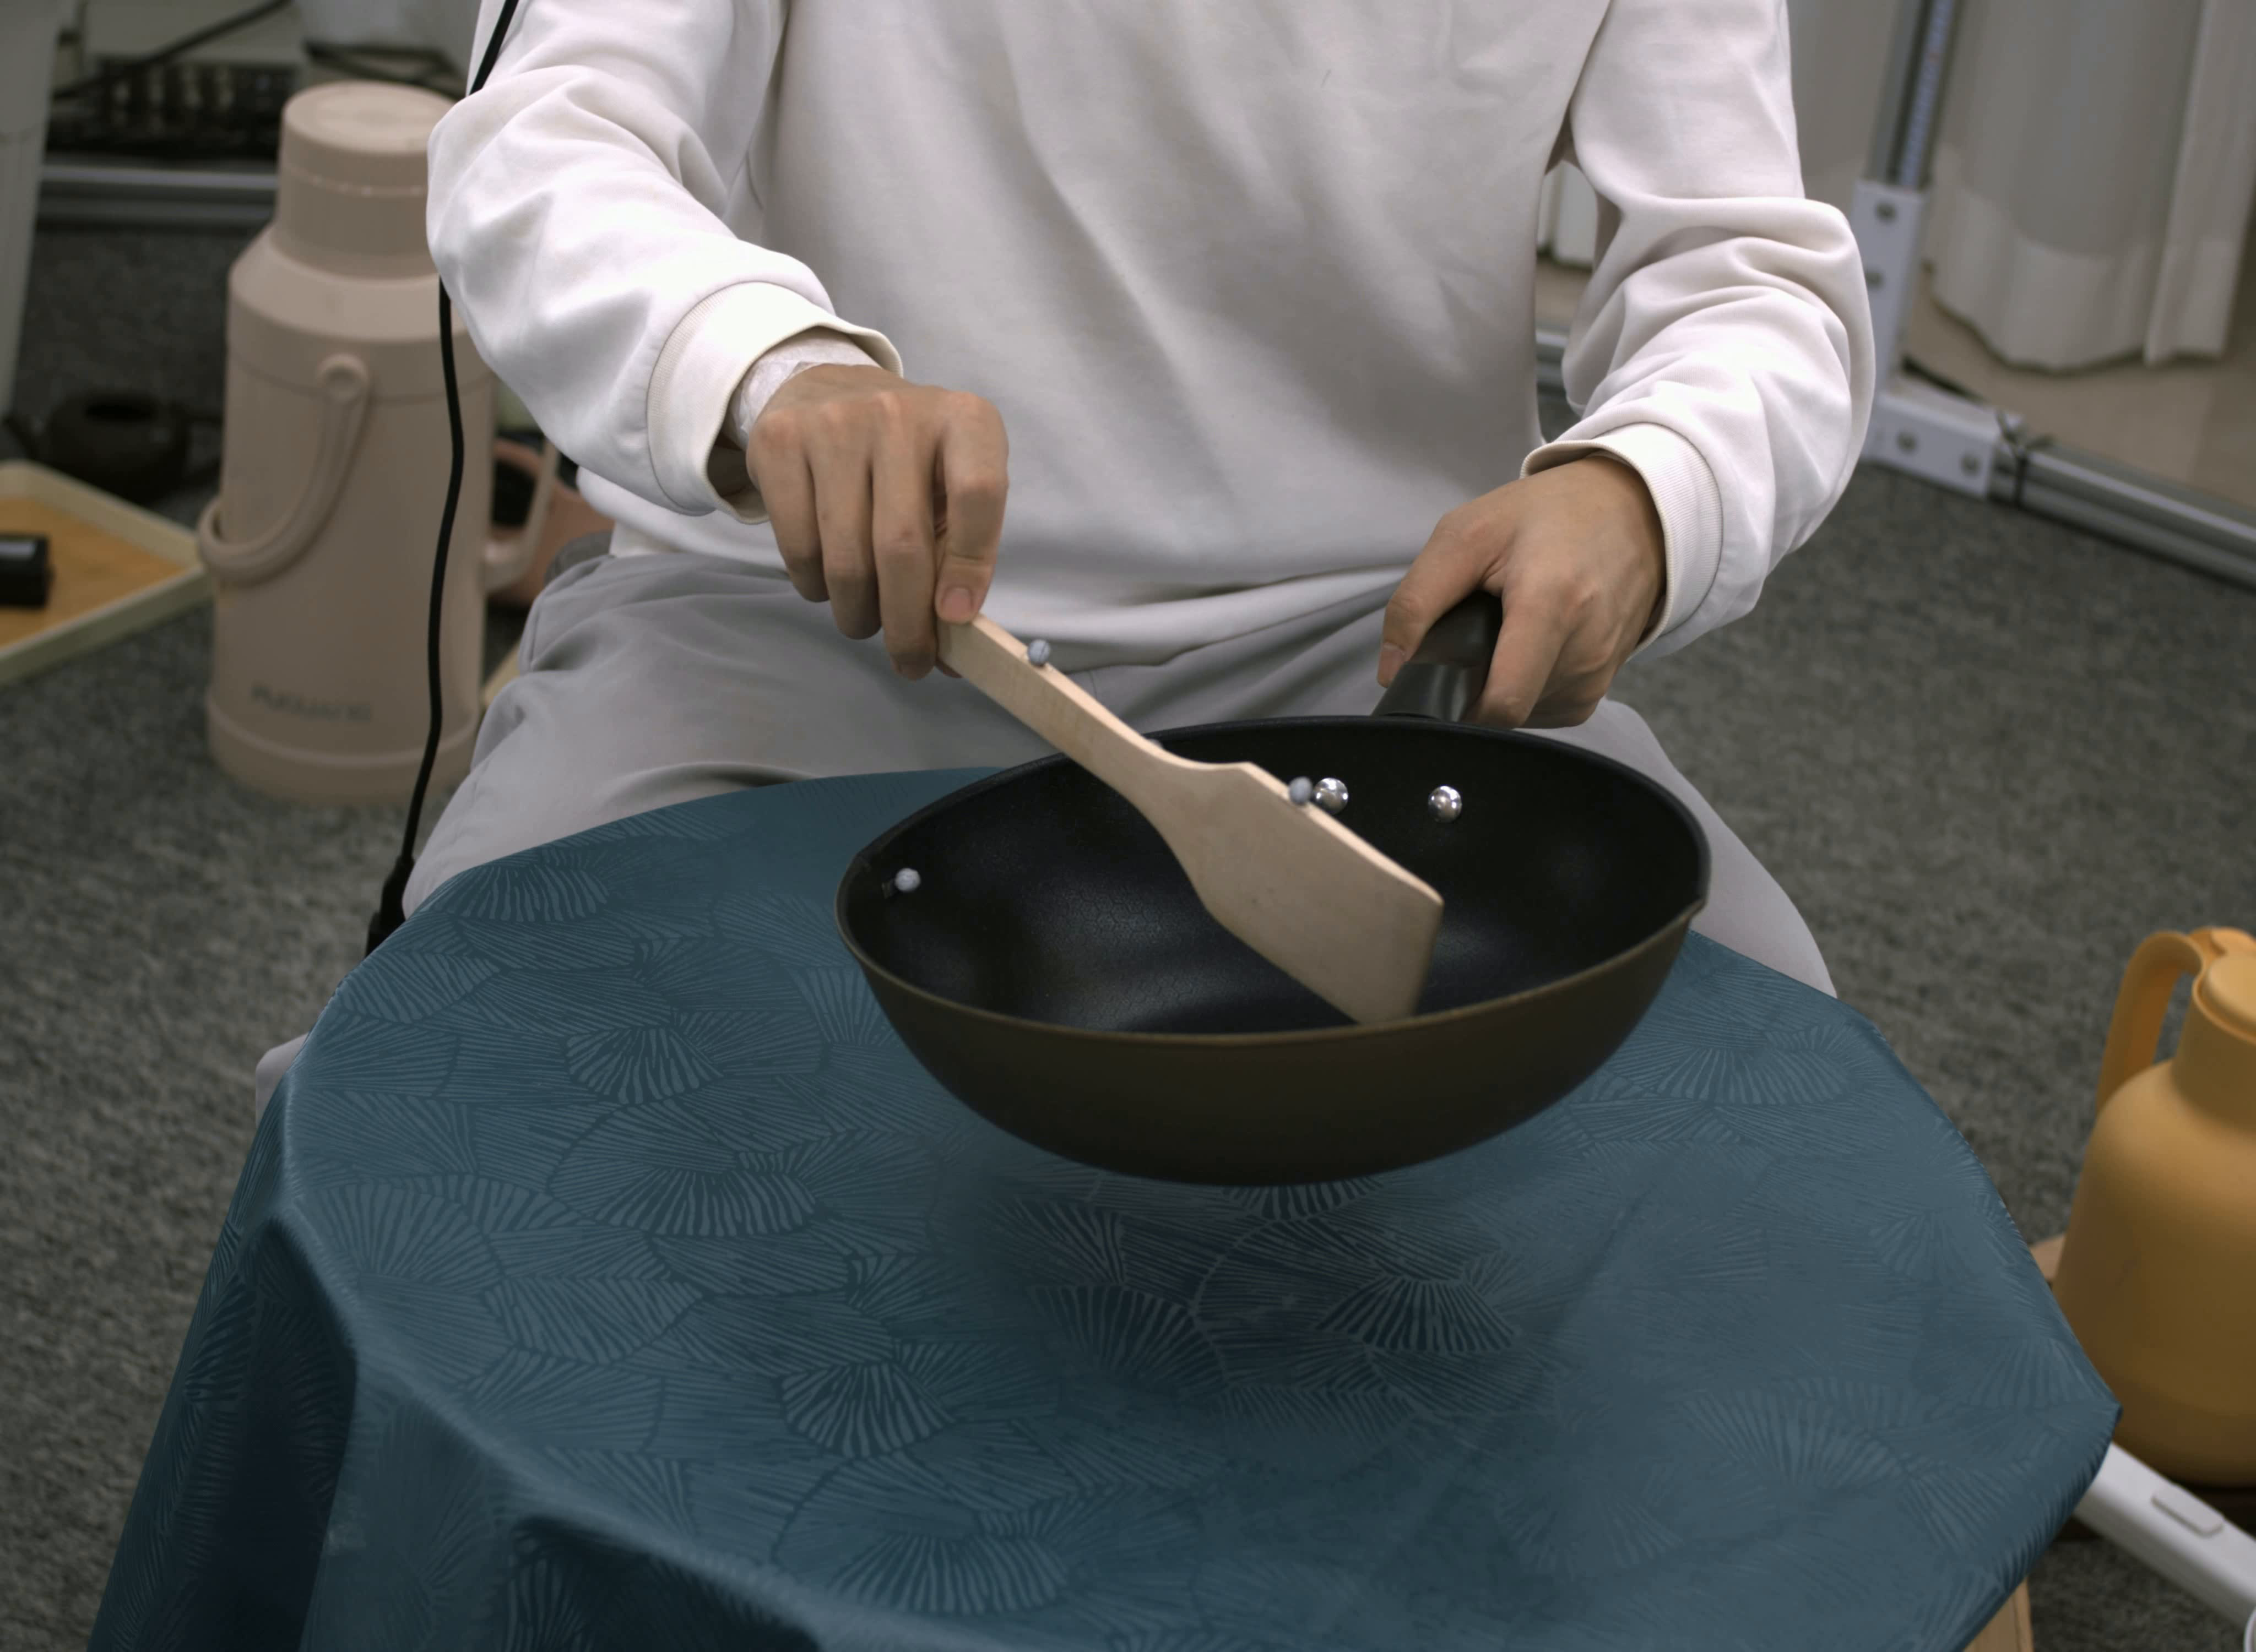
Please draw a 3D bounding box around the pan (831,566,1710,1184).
[{"bbox_3d":[0.078,0.016,1.803,0.289,0.086,0.463,3,21,20],"label":"pan"}]

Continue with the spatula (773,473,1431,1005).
[{"bbox_3d":[-0.015,-0.034,1.782,0.295,0.072,0.010,37,50,24],"label":"spatula"}]
